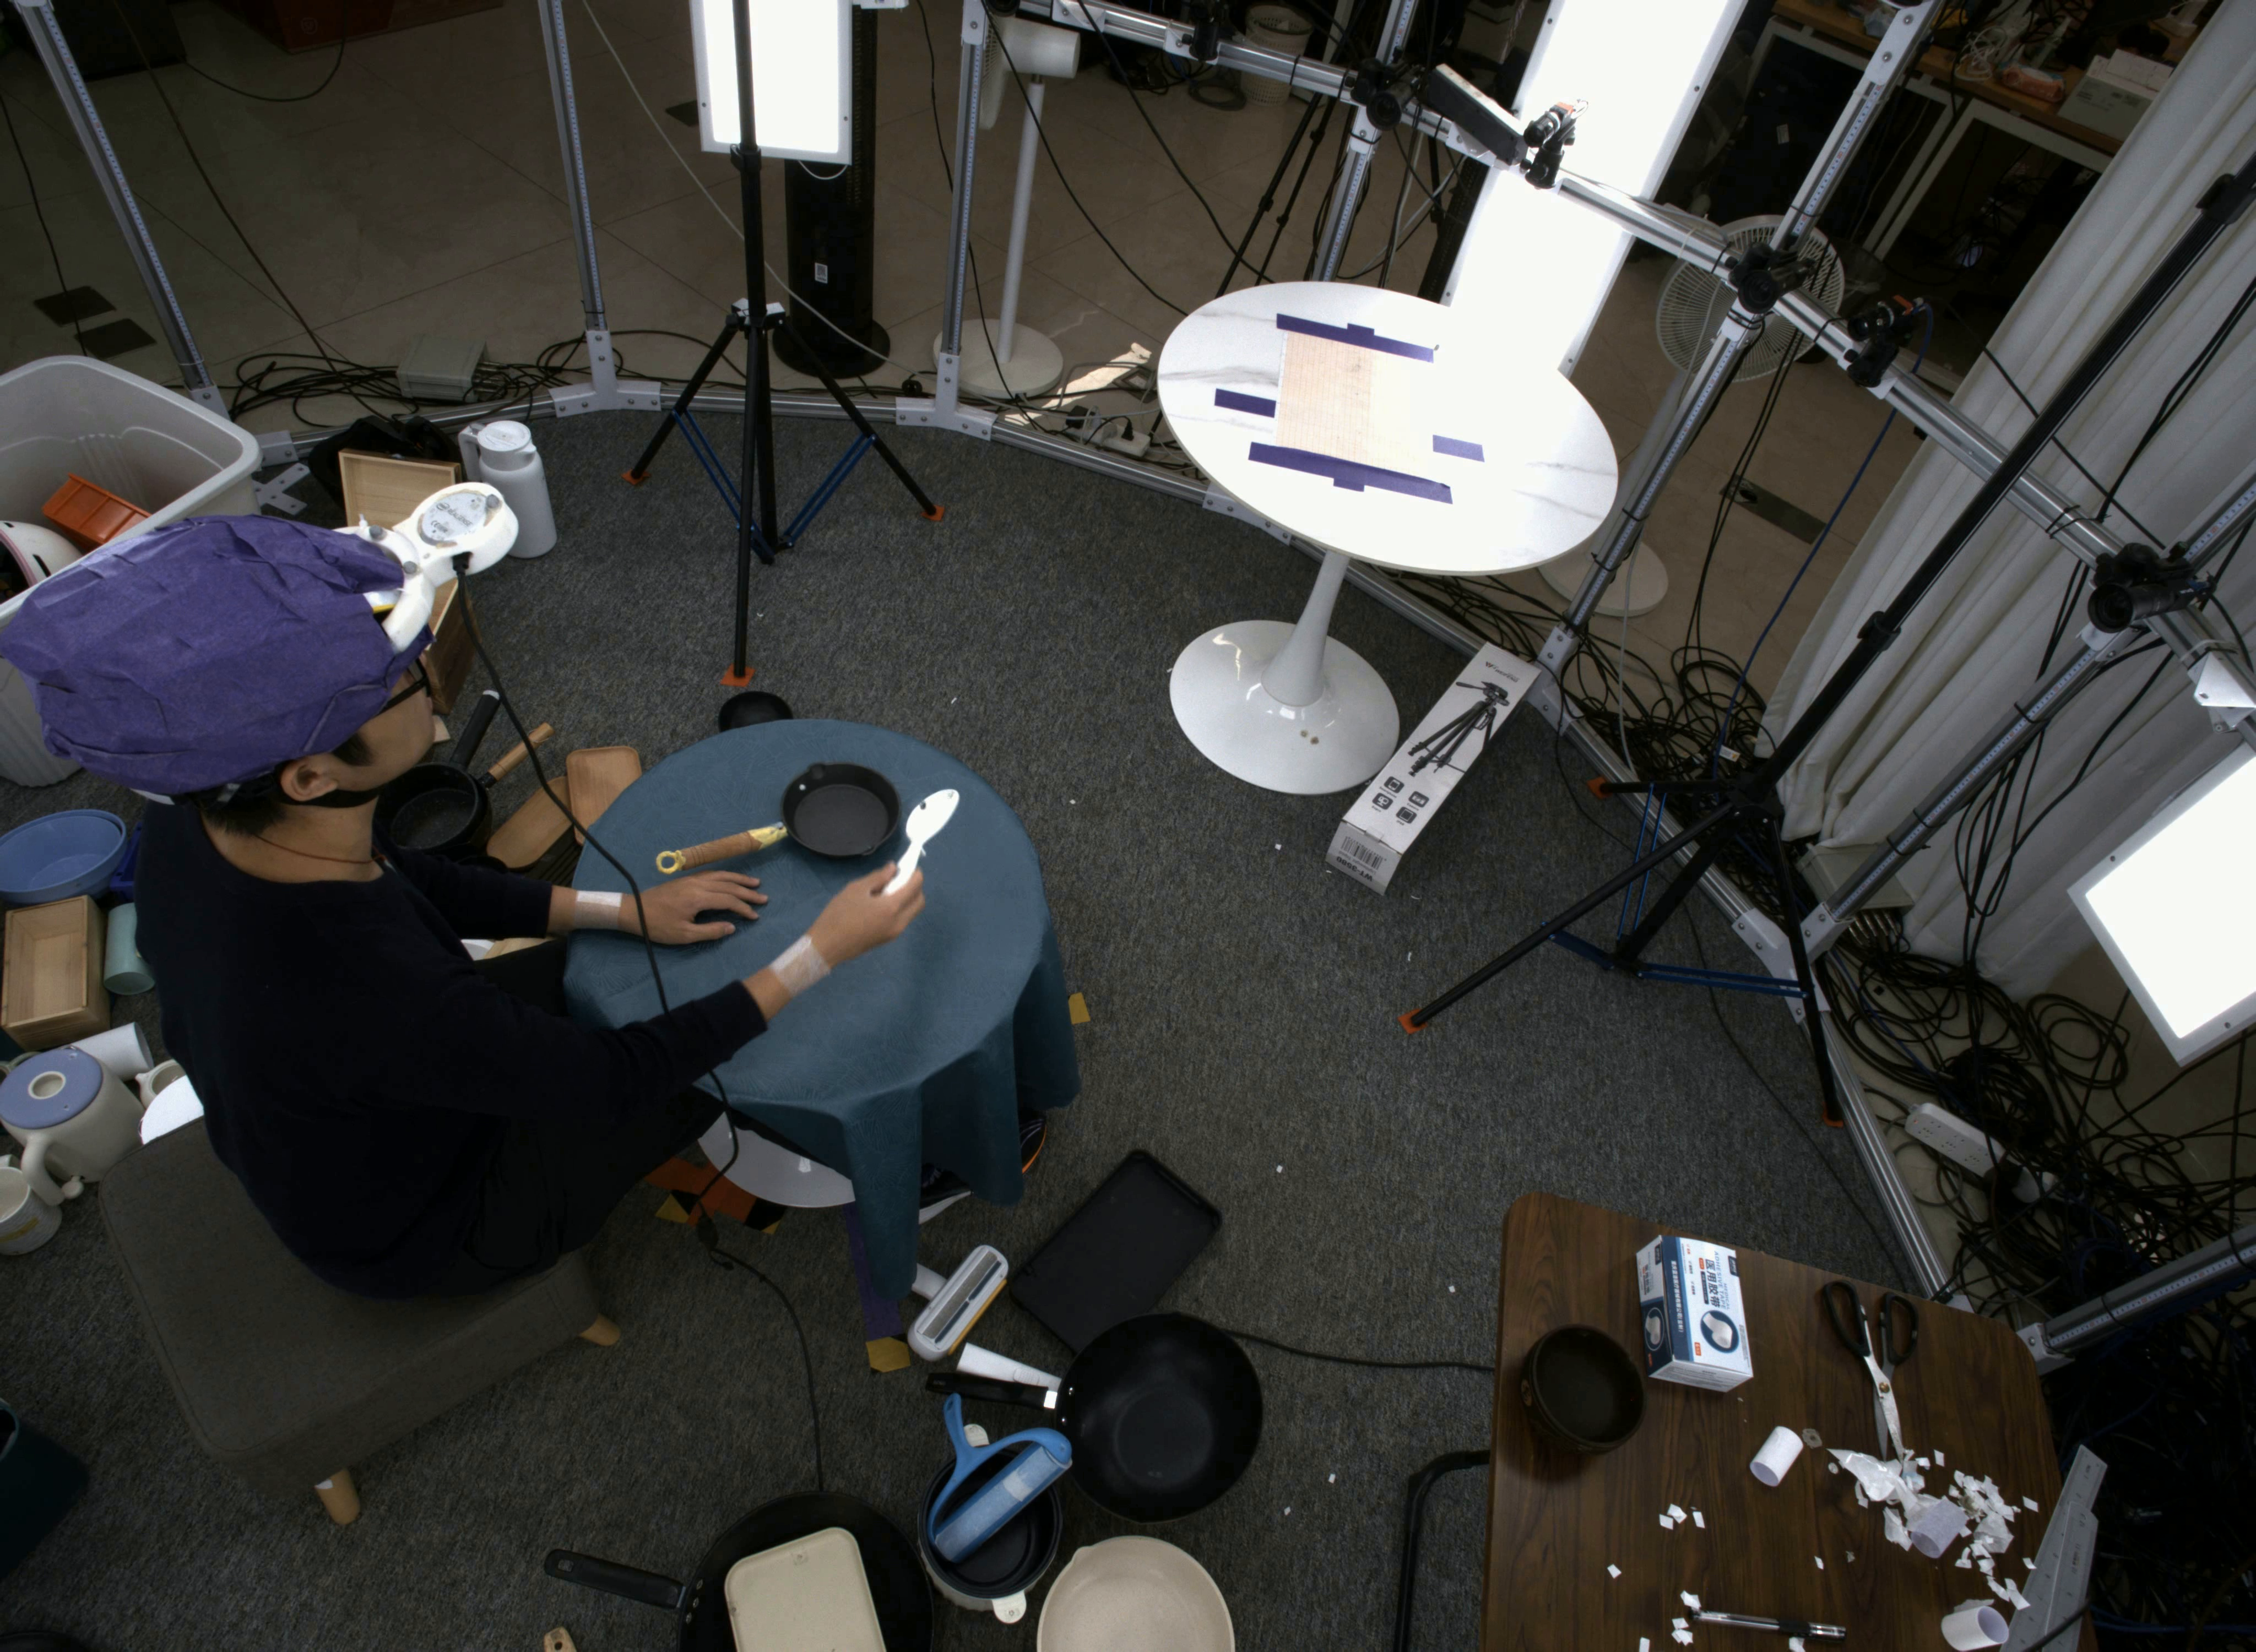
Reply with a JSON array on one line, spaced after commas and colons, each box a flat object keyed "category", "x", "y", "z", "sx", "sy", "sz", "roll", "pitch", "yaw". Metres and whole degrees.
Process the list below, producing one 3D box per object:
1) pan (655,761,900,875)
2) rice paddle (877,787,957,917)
[{"category": "pan", "x": -0.450, "y": 0.005, "z": 1.670, "sx": 0.326, "sy": 0.050, "sz": 0.165, "roll": -20, "pitch": 61, "yaw": -29}, {"category": "rice paddle", "x": -0.250, "y": 0.020, "z": 1.527, "sx": 0.067, "sy": 0.030, "sz": 0.202, "roll": -7, "pitch": 42, "yaw": 21}]
